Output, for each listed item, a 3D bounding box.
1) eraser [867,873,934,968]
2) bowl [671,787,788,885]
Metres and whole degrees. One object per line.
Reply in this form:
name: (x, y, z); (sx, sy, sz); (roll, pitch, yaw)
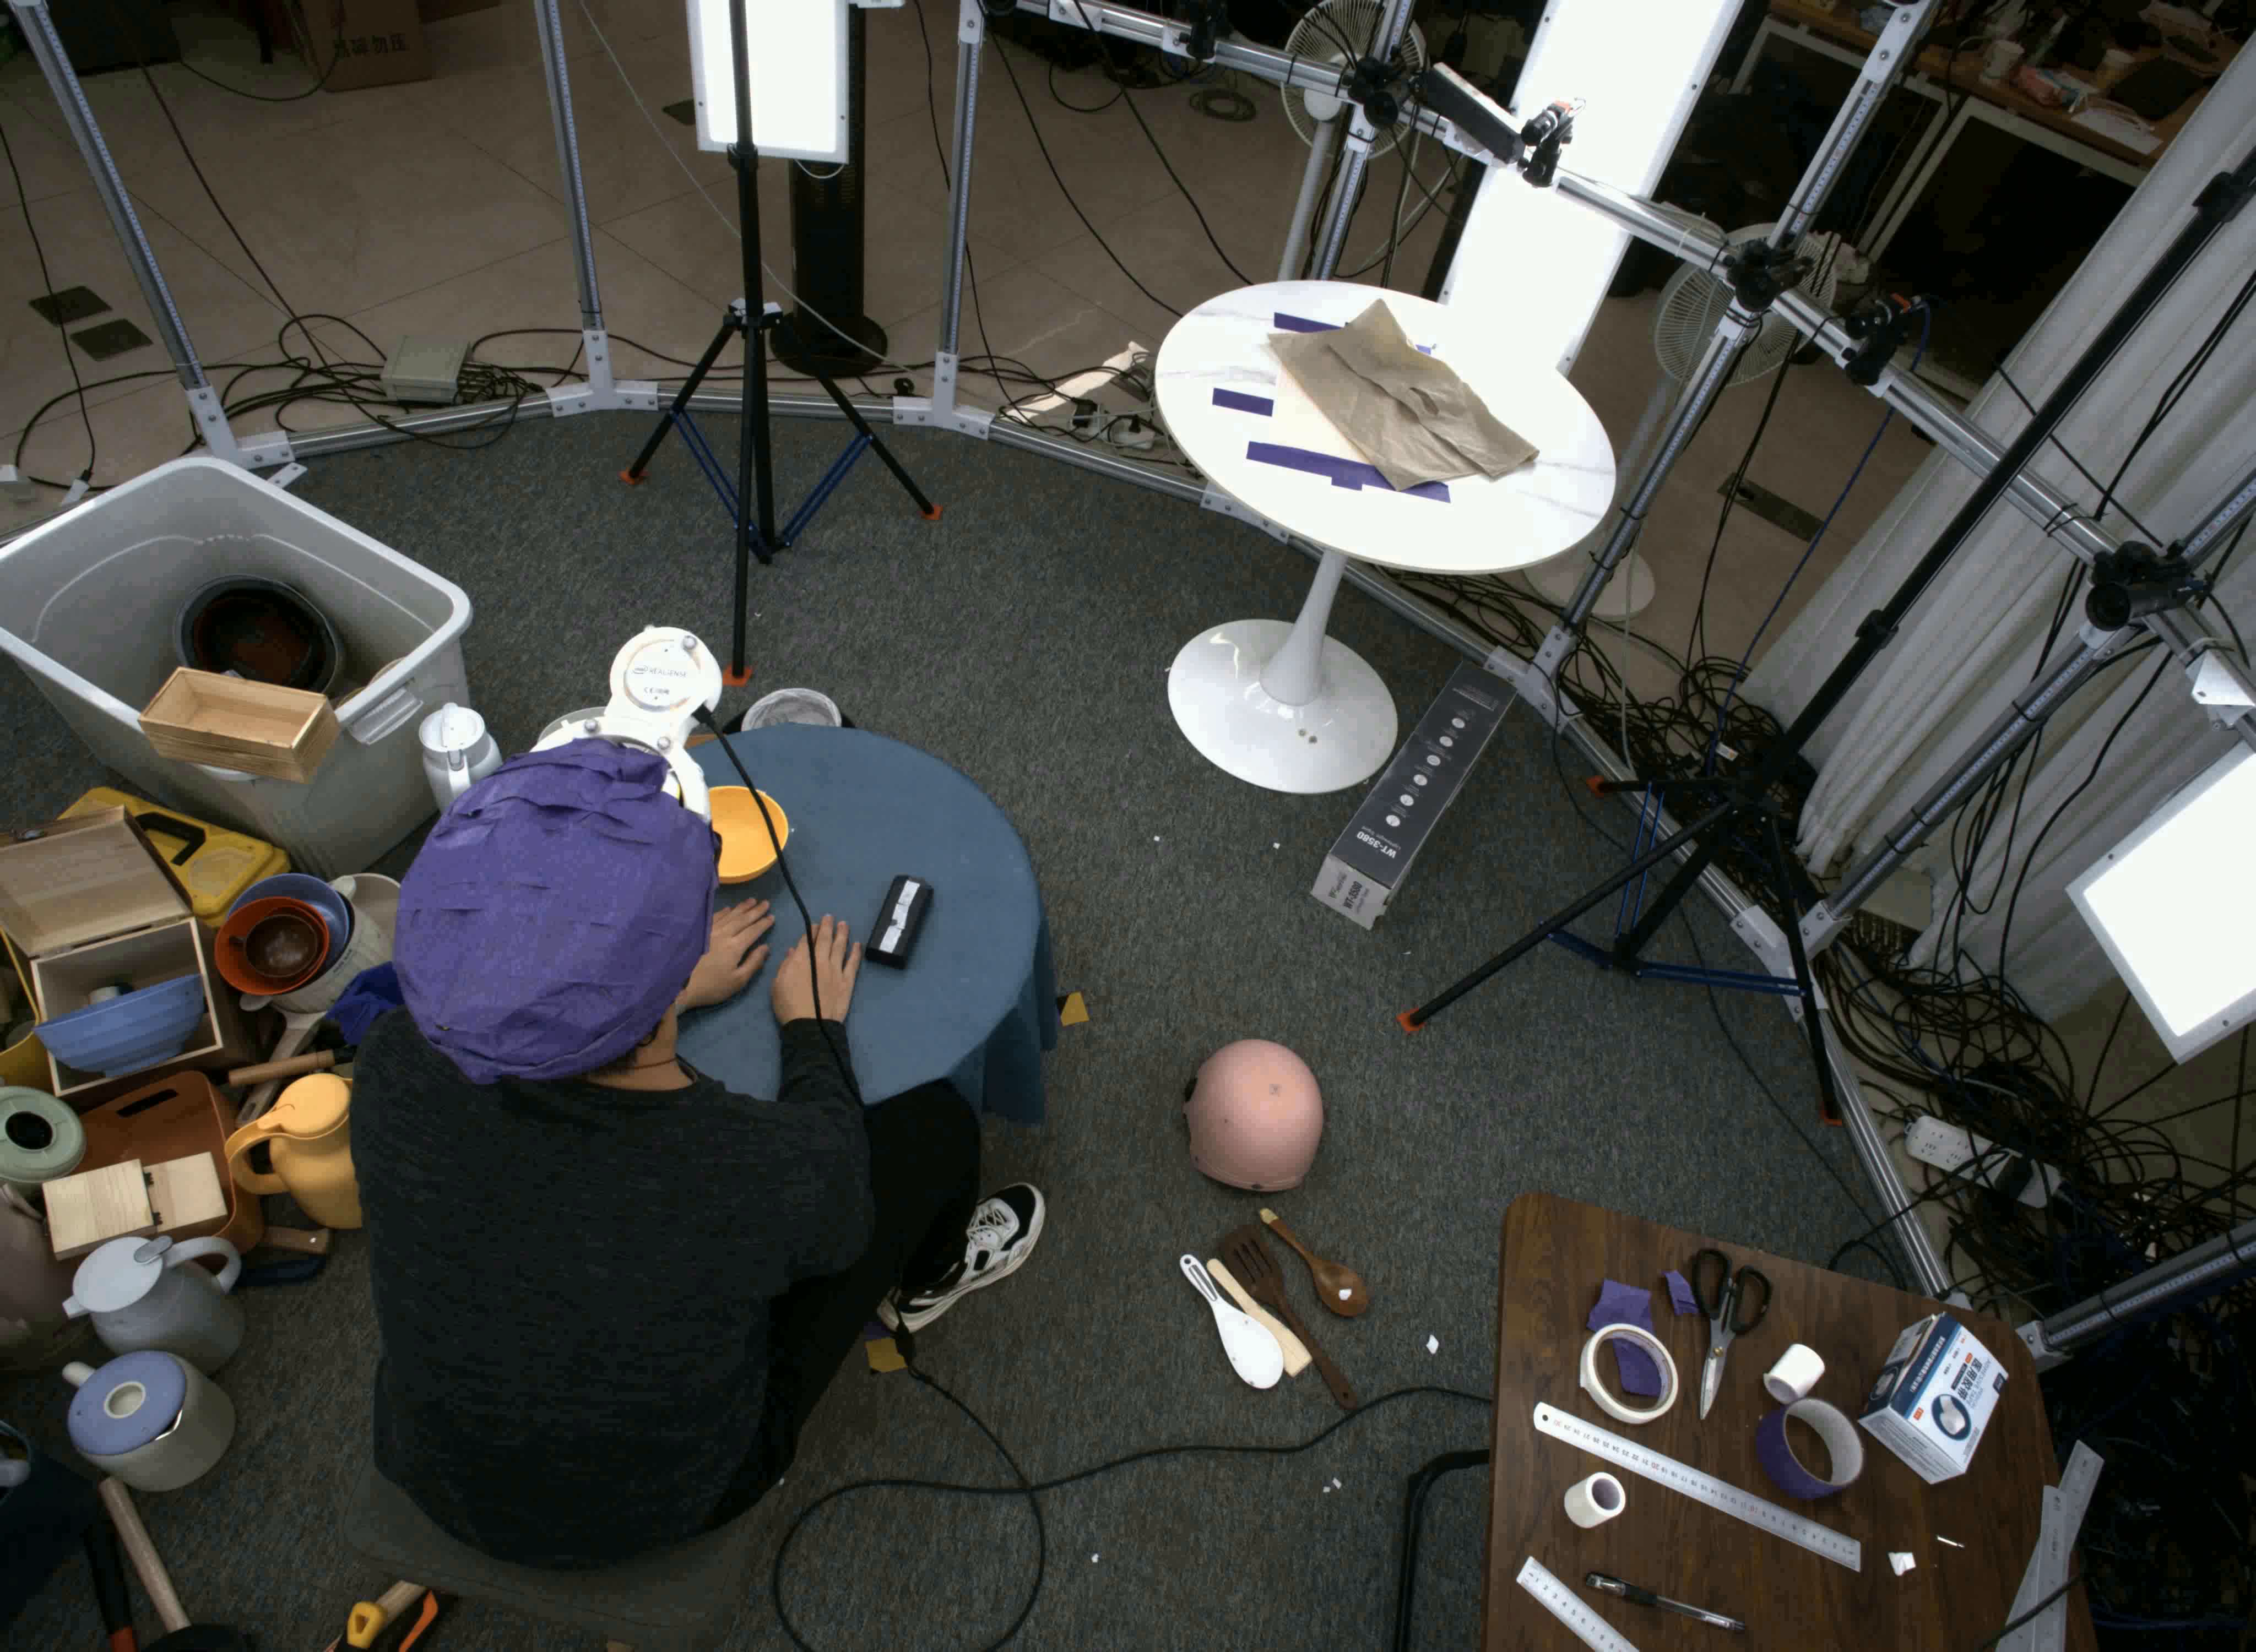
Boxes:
eraser: (-0.287, 0.117, 1.649); (0.053, 0.031, 0.124); (13, 52, 0)
bowl: (-0.503, 0.022, 1.643); (0.145, 0.061, 0.143); (6, 53, -7)
